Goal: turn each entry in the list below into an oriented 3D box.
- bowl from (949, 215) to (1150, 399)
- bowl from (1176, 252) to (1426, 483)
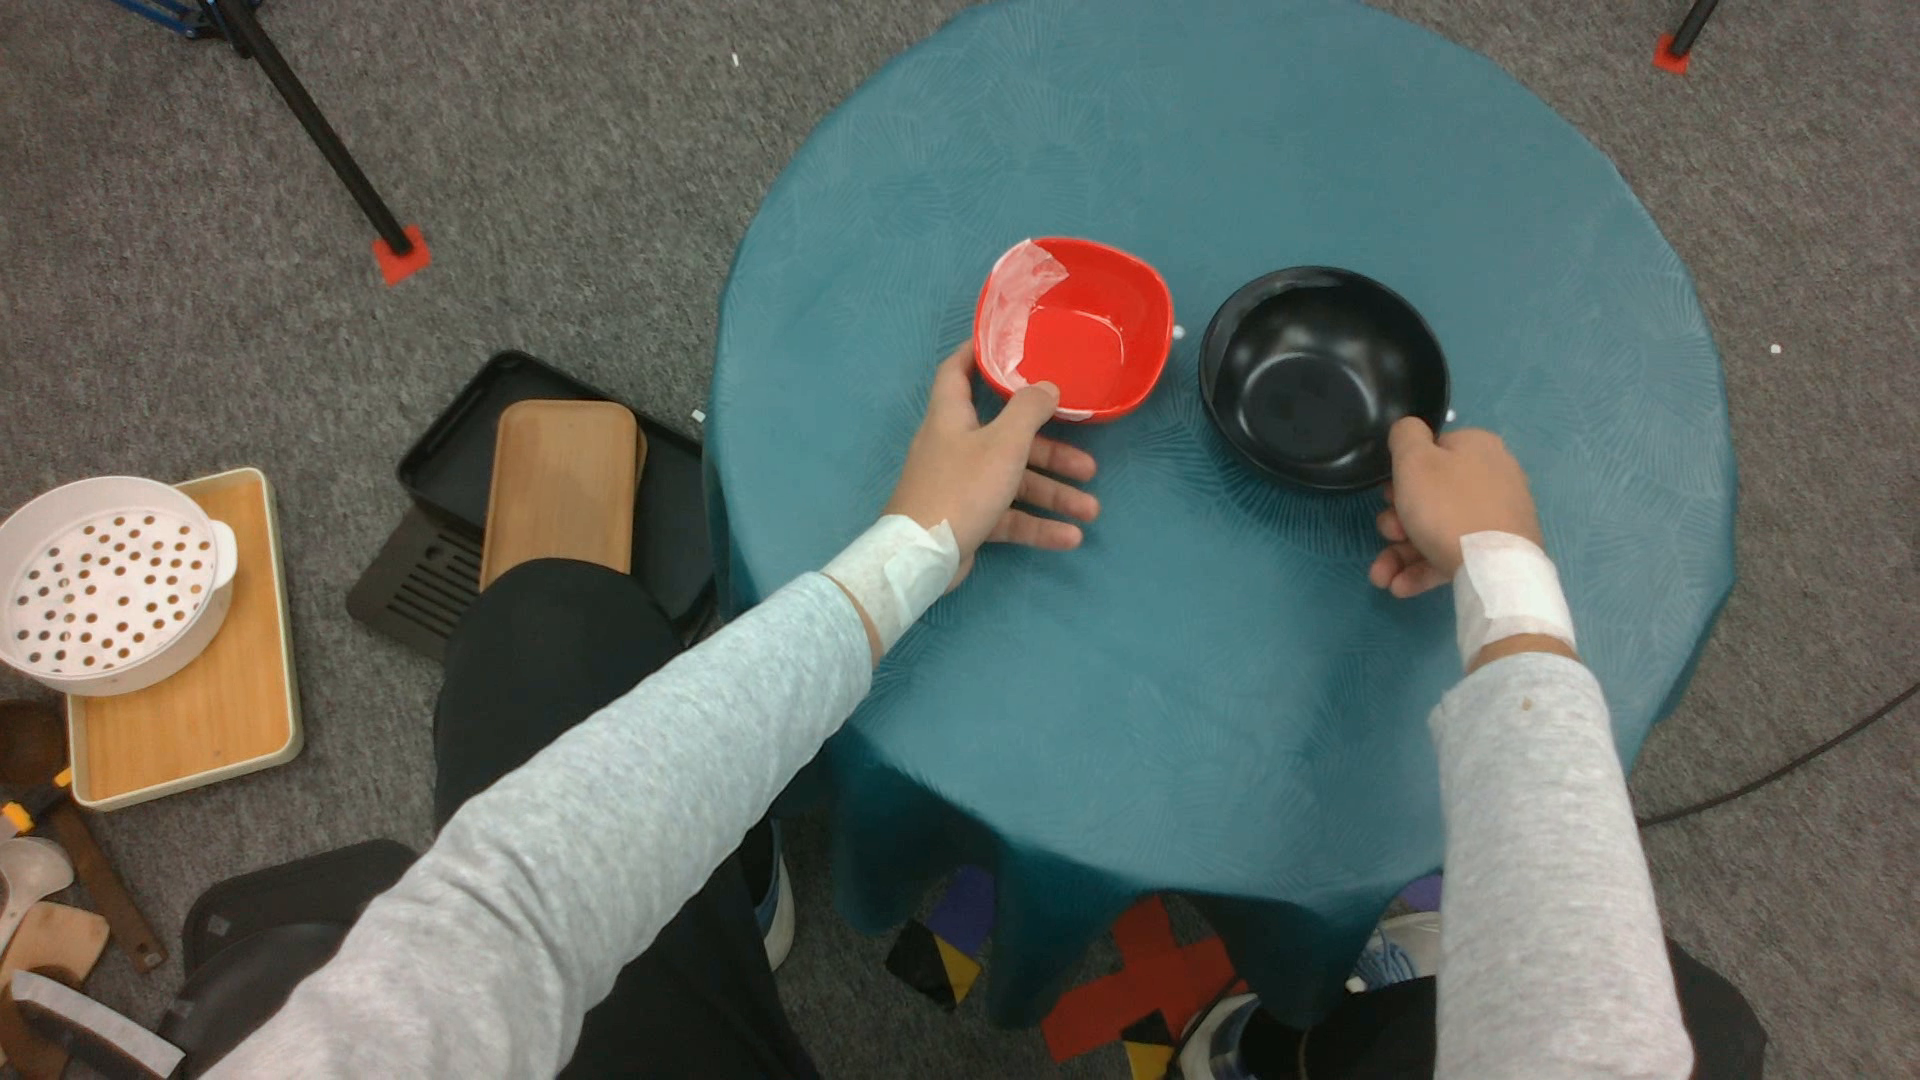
[{"bbox_3d":[0.048,-0.124,0.786,0.119,0.051,0.119,2,66,-4],"label":"bowl"},{"bbox_3d":[0.189,-0.092,0.786,0.140,0.049,0.140,0,72,0],"label":"bowl"}]
